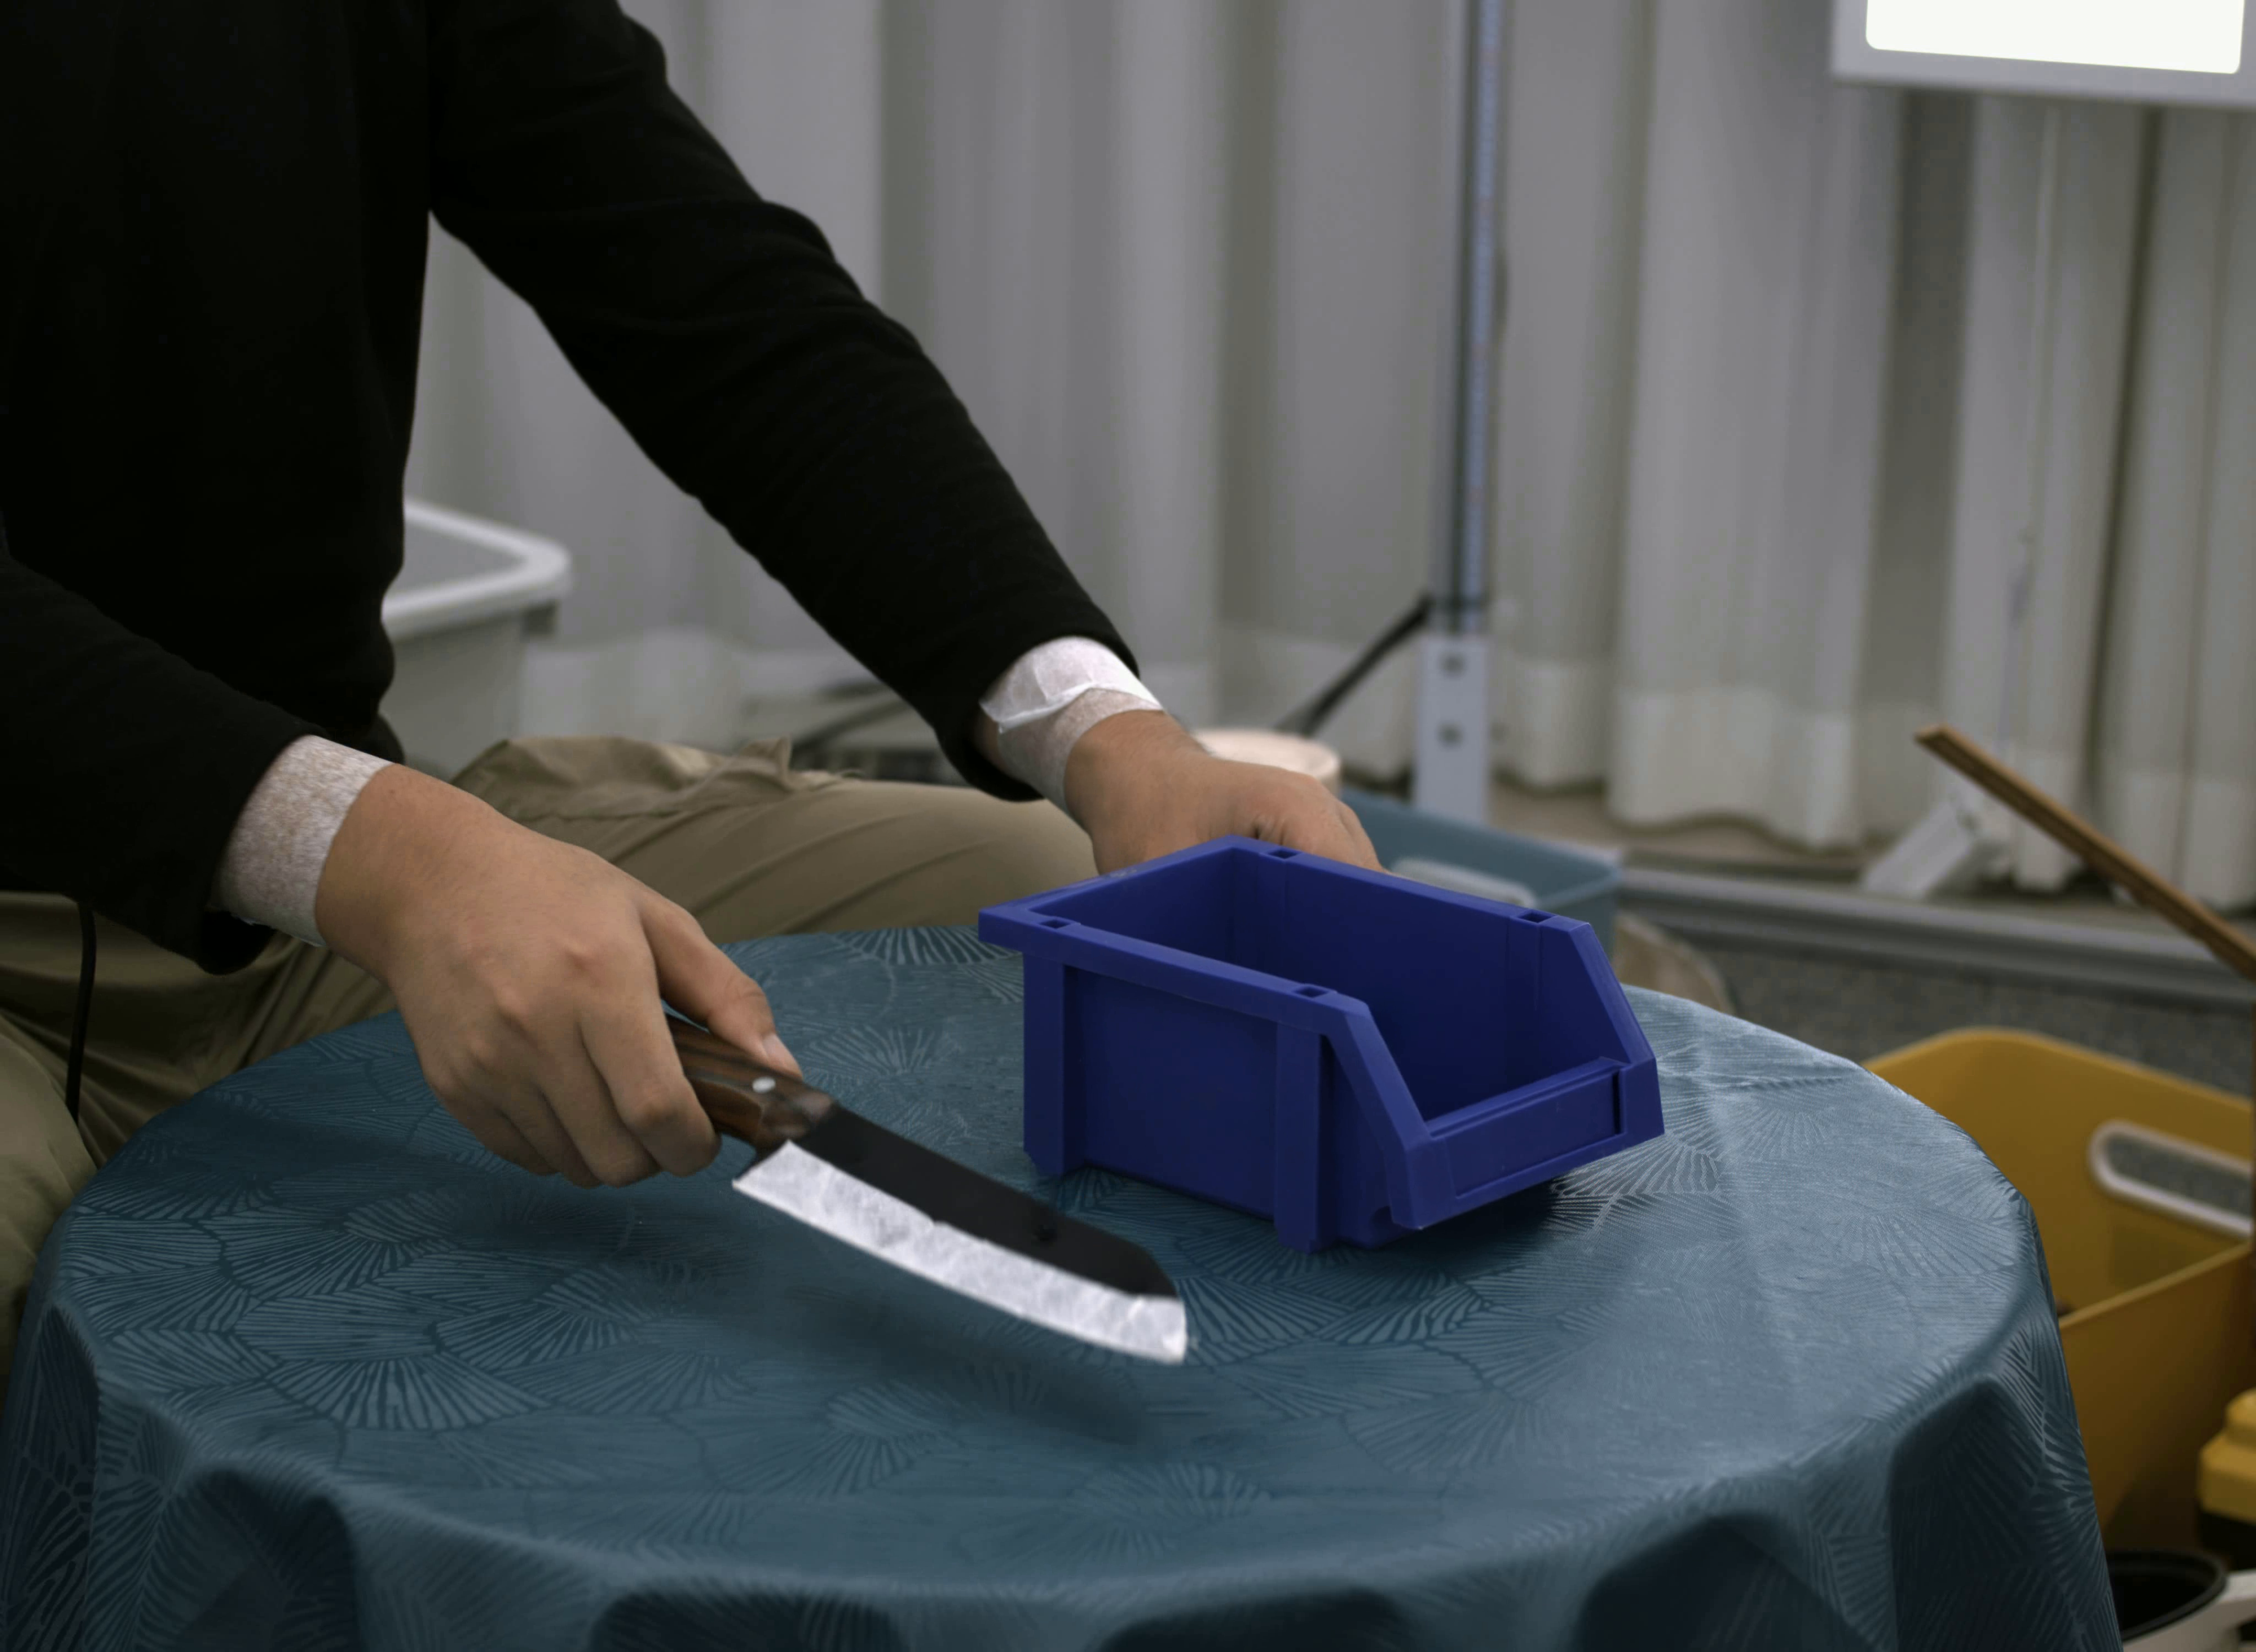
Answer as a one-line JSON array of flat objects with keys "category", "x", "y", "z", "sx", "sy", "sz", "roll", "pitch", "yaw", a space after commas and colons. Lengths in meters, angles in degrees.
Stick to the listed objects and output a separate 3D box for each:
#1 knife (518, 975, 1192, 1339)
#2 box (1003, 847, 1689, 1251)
[{"category": "knife", "x": -0.082, "y": 0.094, "z": 1.505, "sx": 0.050, "sy": 0.020, "sz": 0.285, "roll": -33, "pitch": 38, "yaw": -32}, {"category": "box", "x": 0.068, "y": 0.069, "z": 1.625, "sx": 0.177, "sy": 0.082, "sz": 0.125, "roll": 12, "pitch": 19, "yaw": 42}]
